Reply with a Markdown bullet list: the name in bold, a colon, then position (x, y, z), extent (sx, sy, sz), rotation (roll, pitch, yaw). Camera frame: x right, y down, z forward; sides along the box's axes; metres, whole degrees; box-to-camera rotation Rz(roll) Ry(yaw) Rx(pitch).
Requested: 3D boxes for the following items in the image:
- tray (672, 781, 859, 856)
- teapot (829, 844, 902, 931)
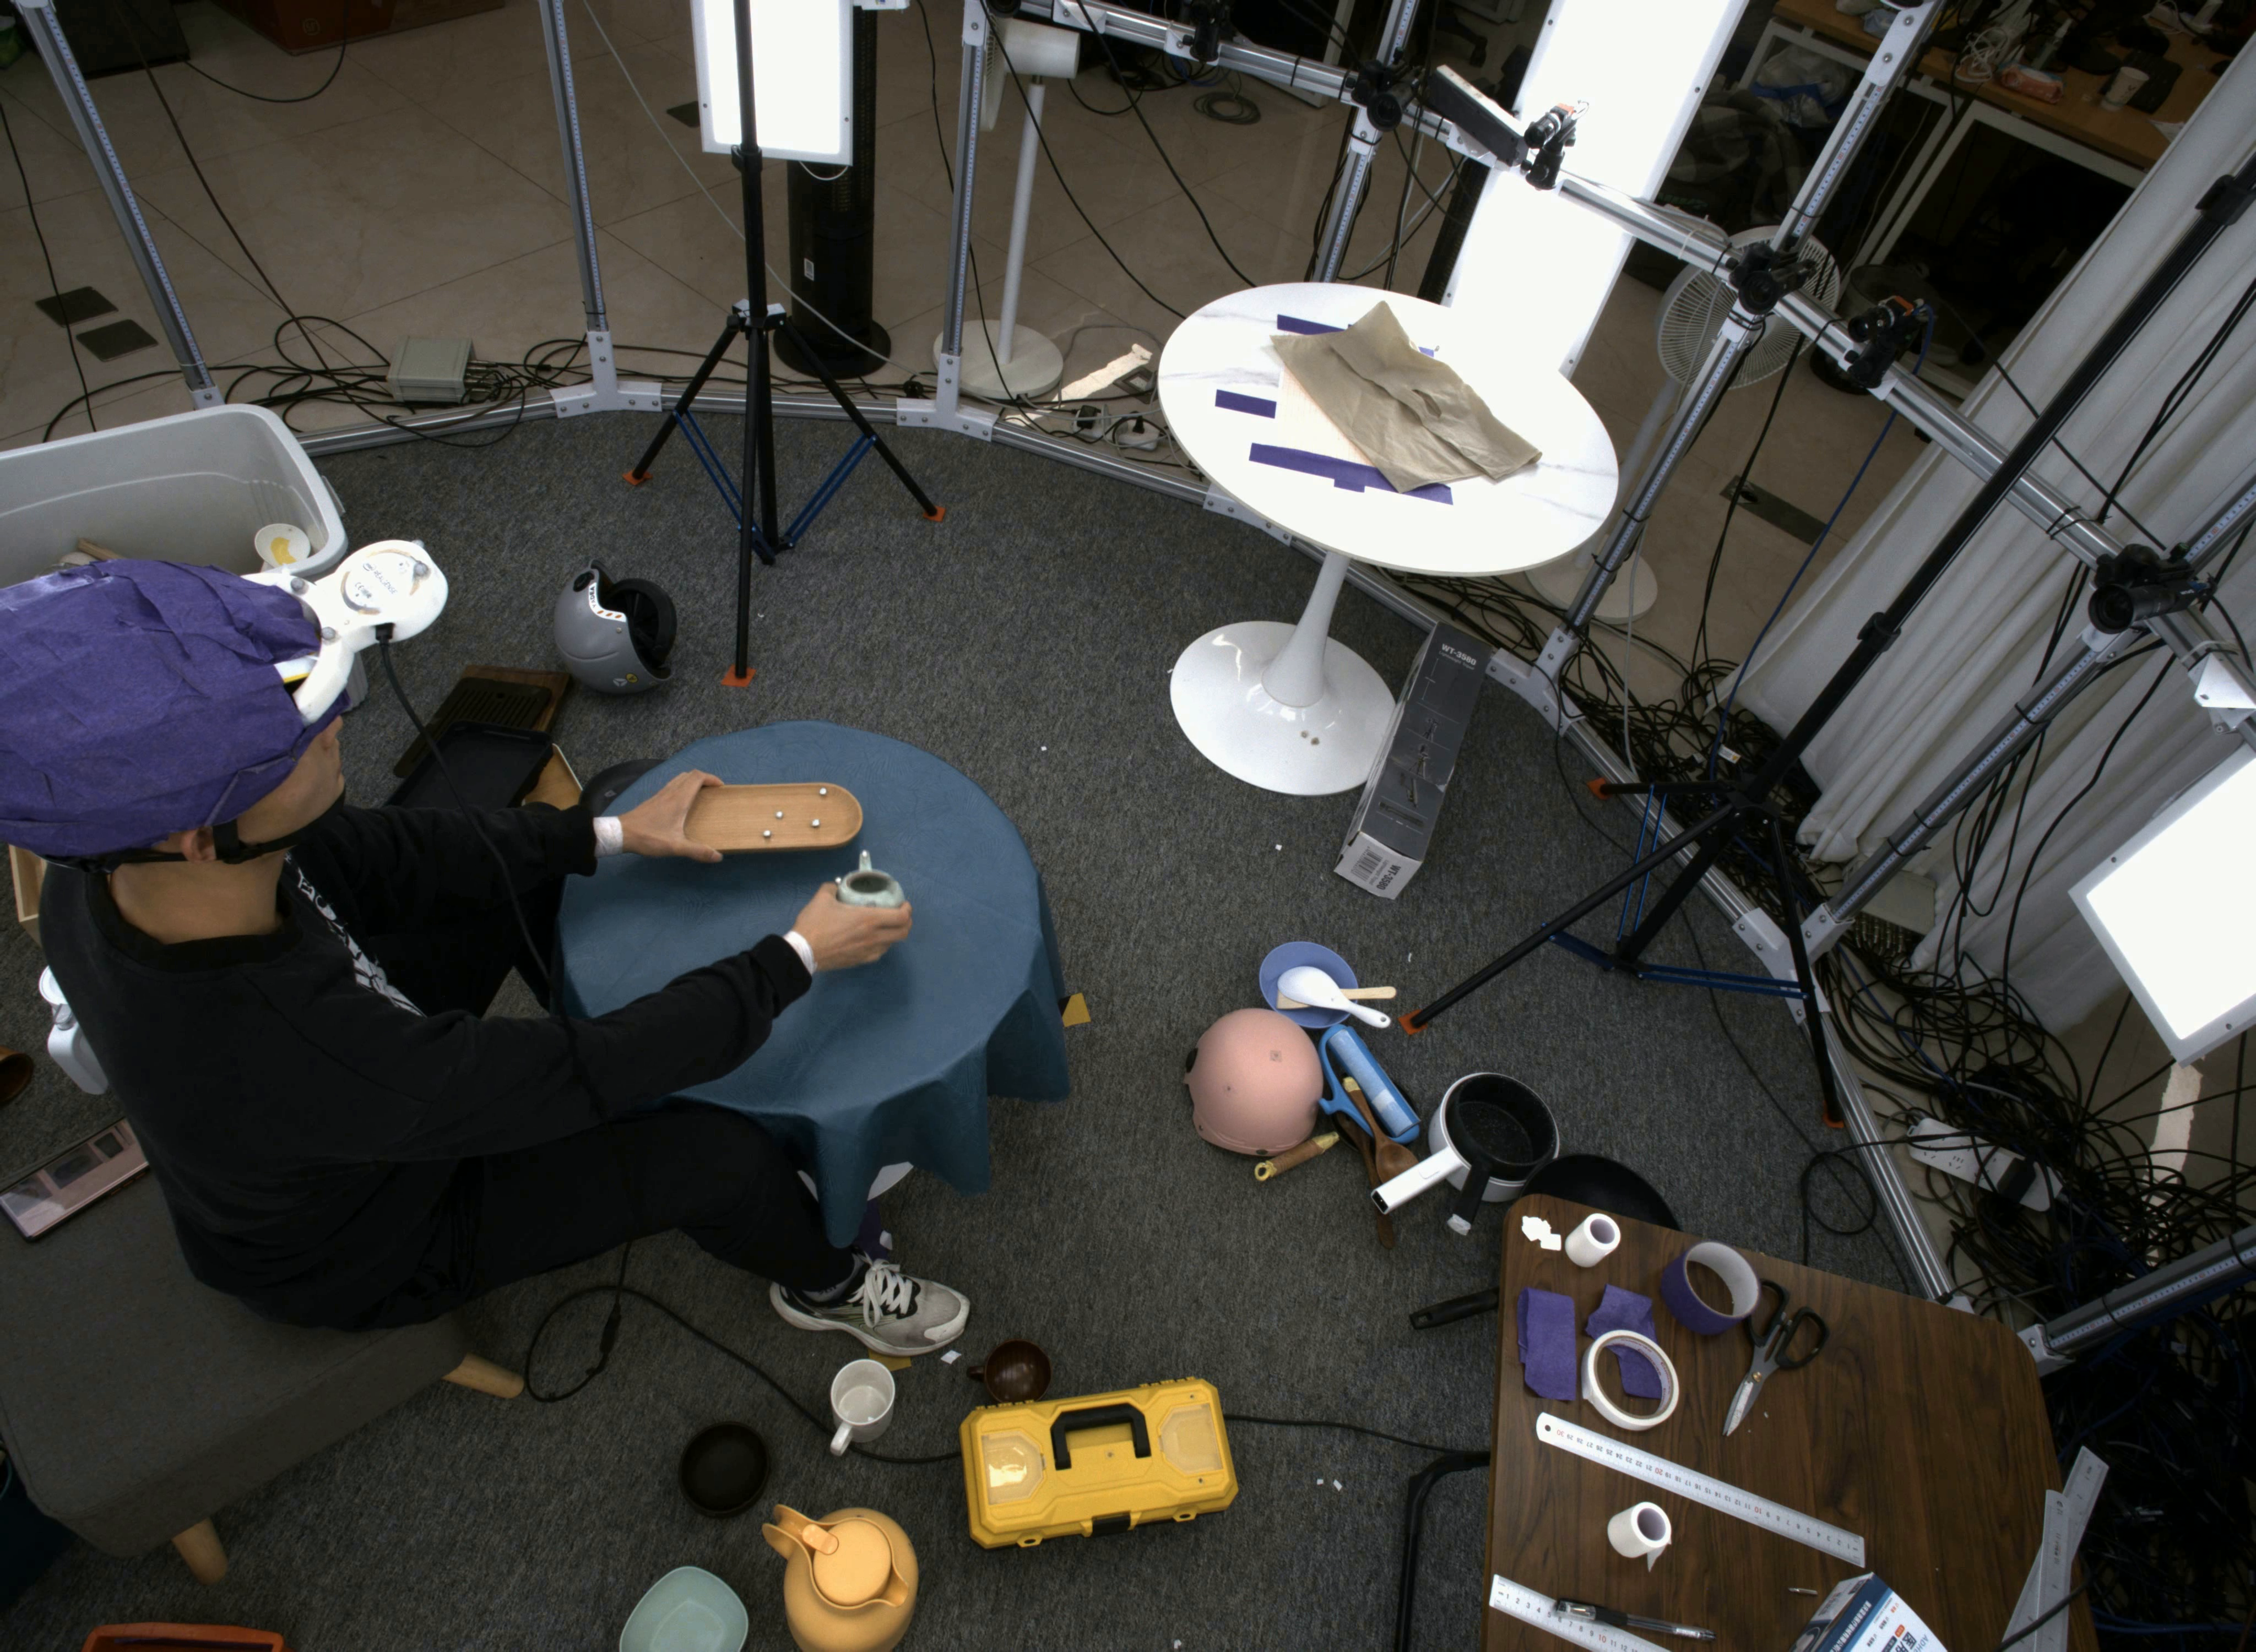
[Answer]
- **tray**: position (-0.457, -0.011, 1.639), extent (0.232, 0.020, 0.099), rotation (-4, 56, -21)
- **teapot**: position (-0.319, 0.083, 1.577), extent (0.088, 0.077, 0.139), rotation (-2, 30, -14)
